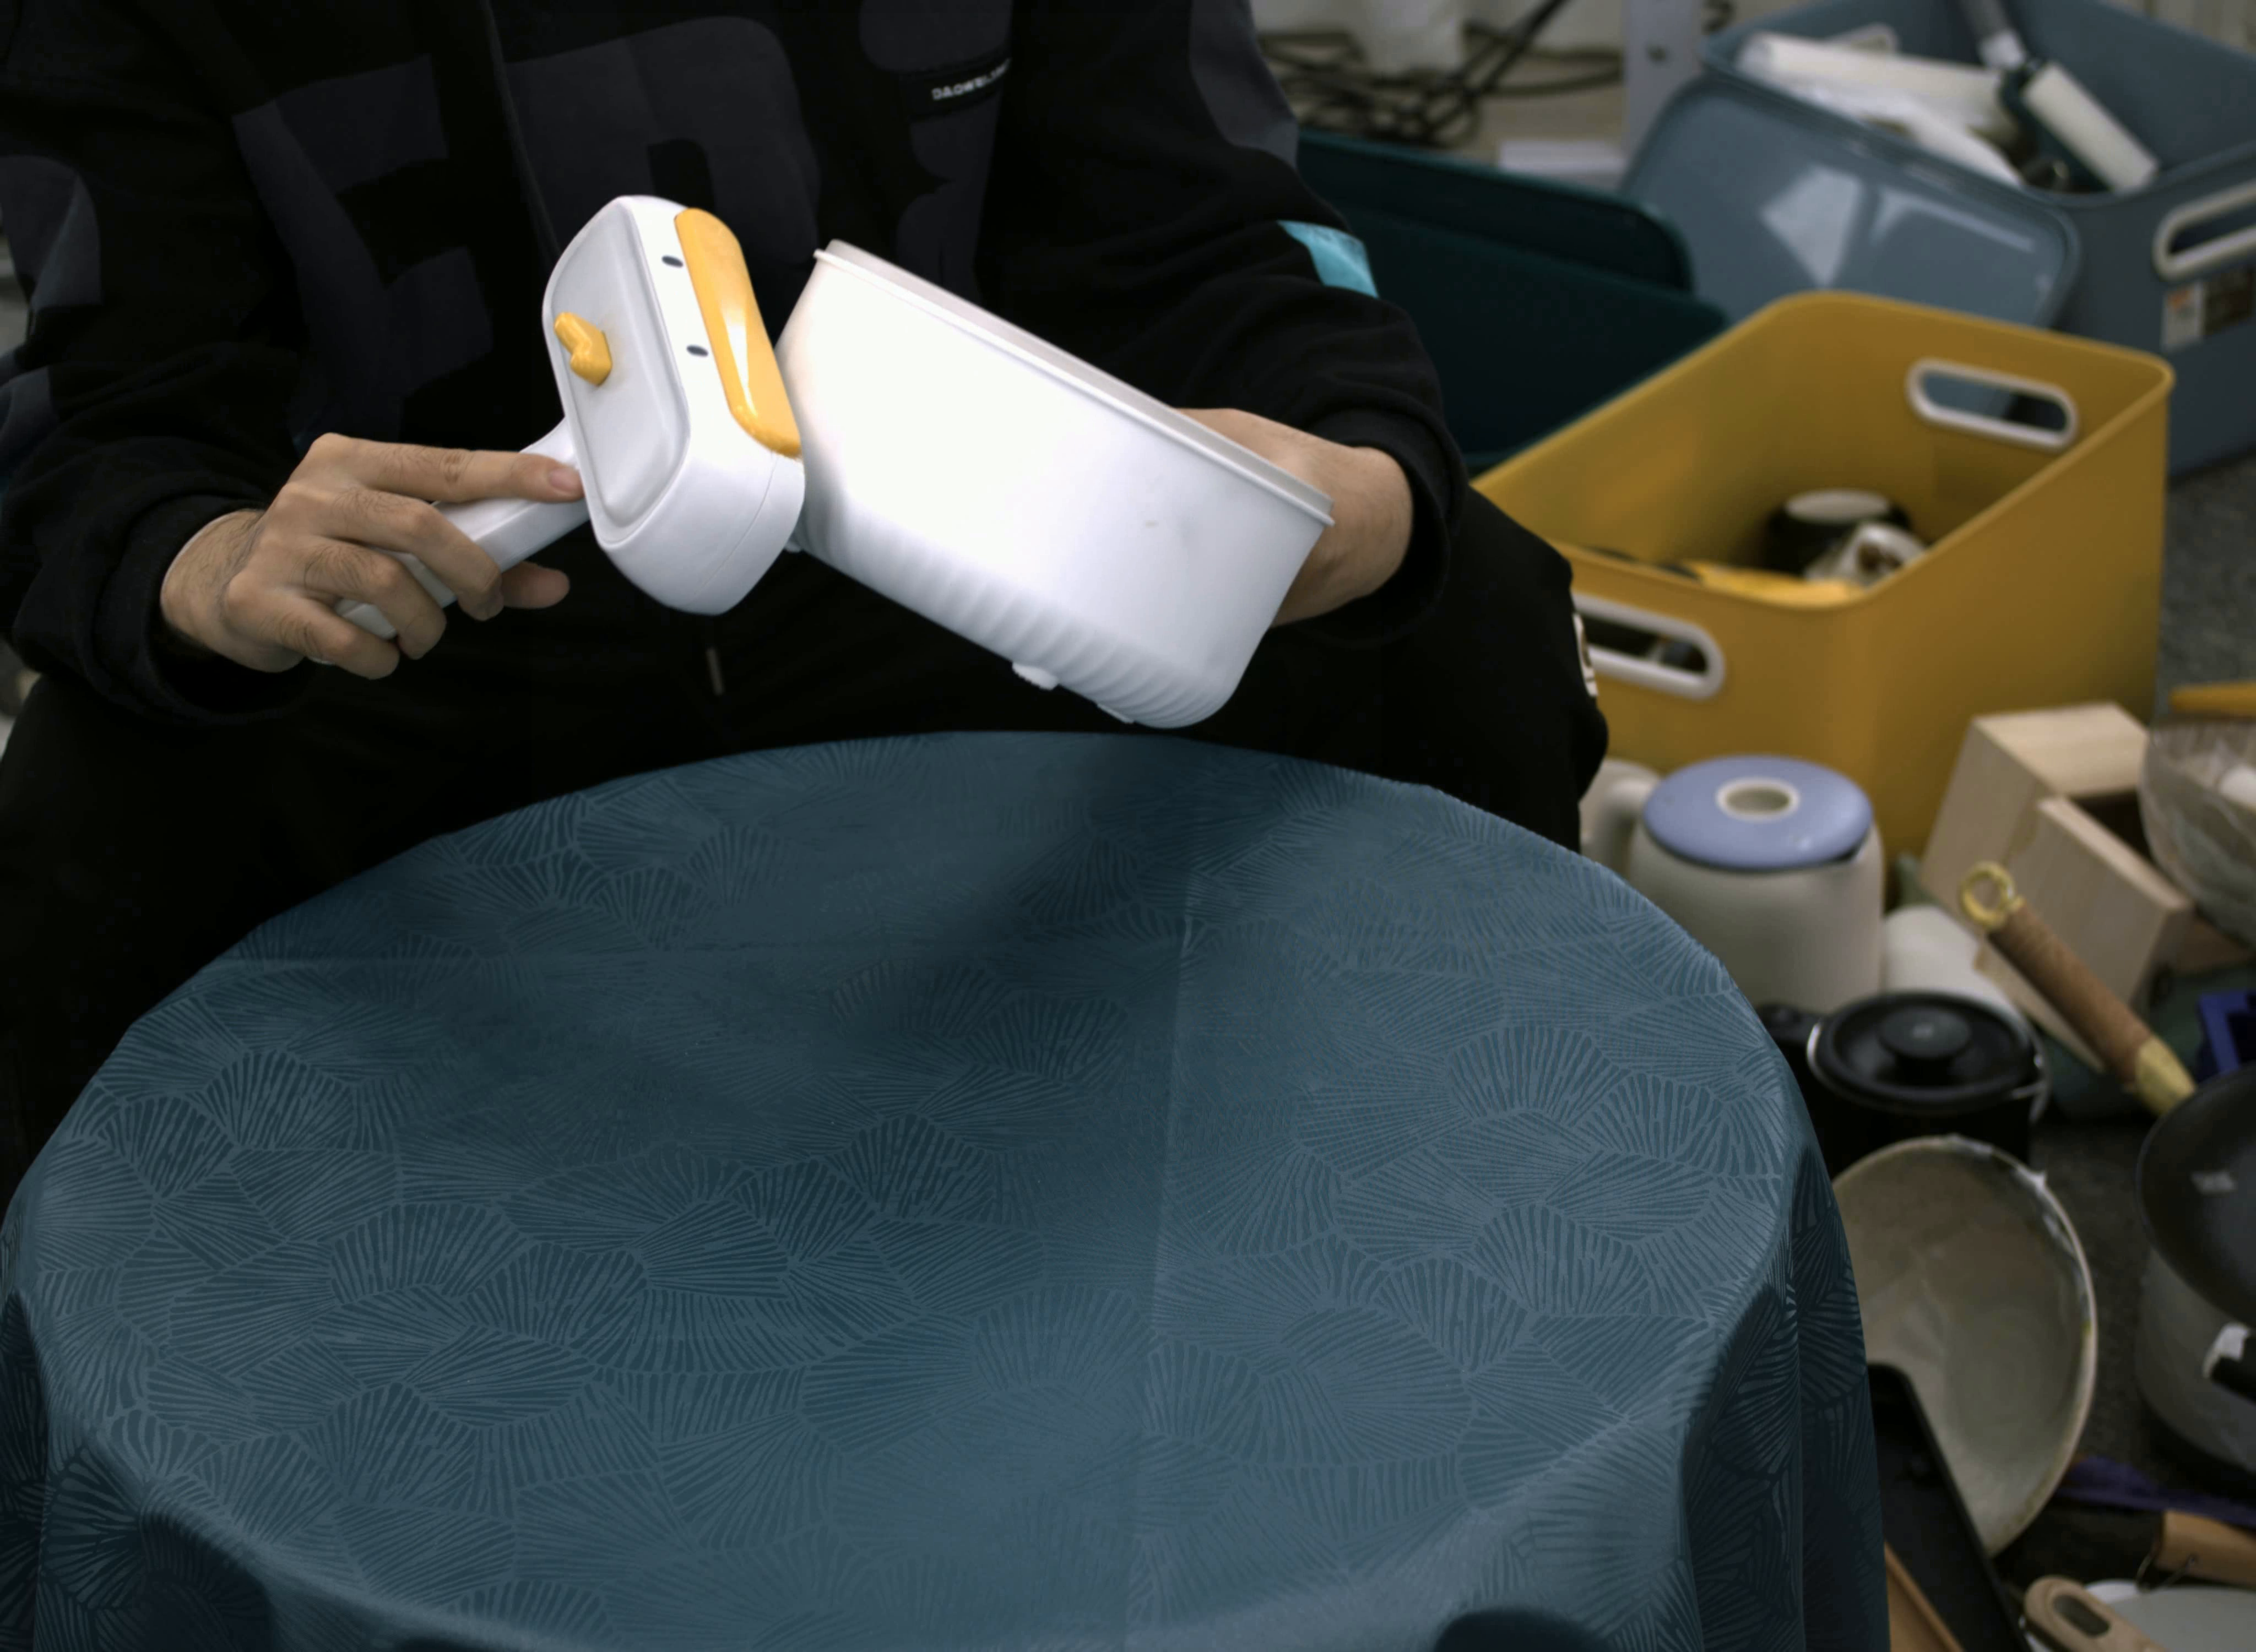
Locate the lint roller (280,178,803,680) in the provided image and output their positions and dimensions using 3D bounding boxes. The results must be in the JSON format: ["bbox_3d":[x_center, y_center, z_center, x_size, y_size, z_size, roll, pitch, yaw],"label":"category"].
[{"bbox_3d":[-0.202,-0.113,1.898,0.191,0.074,0.195,-43,39,12],"label":"lint roller"}]

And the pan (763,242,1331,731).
[{"bbox_3d":[-0.019,-0.103,2.002,0.201,0.102,0.354,28,2,16],"label":"pan"}]
